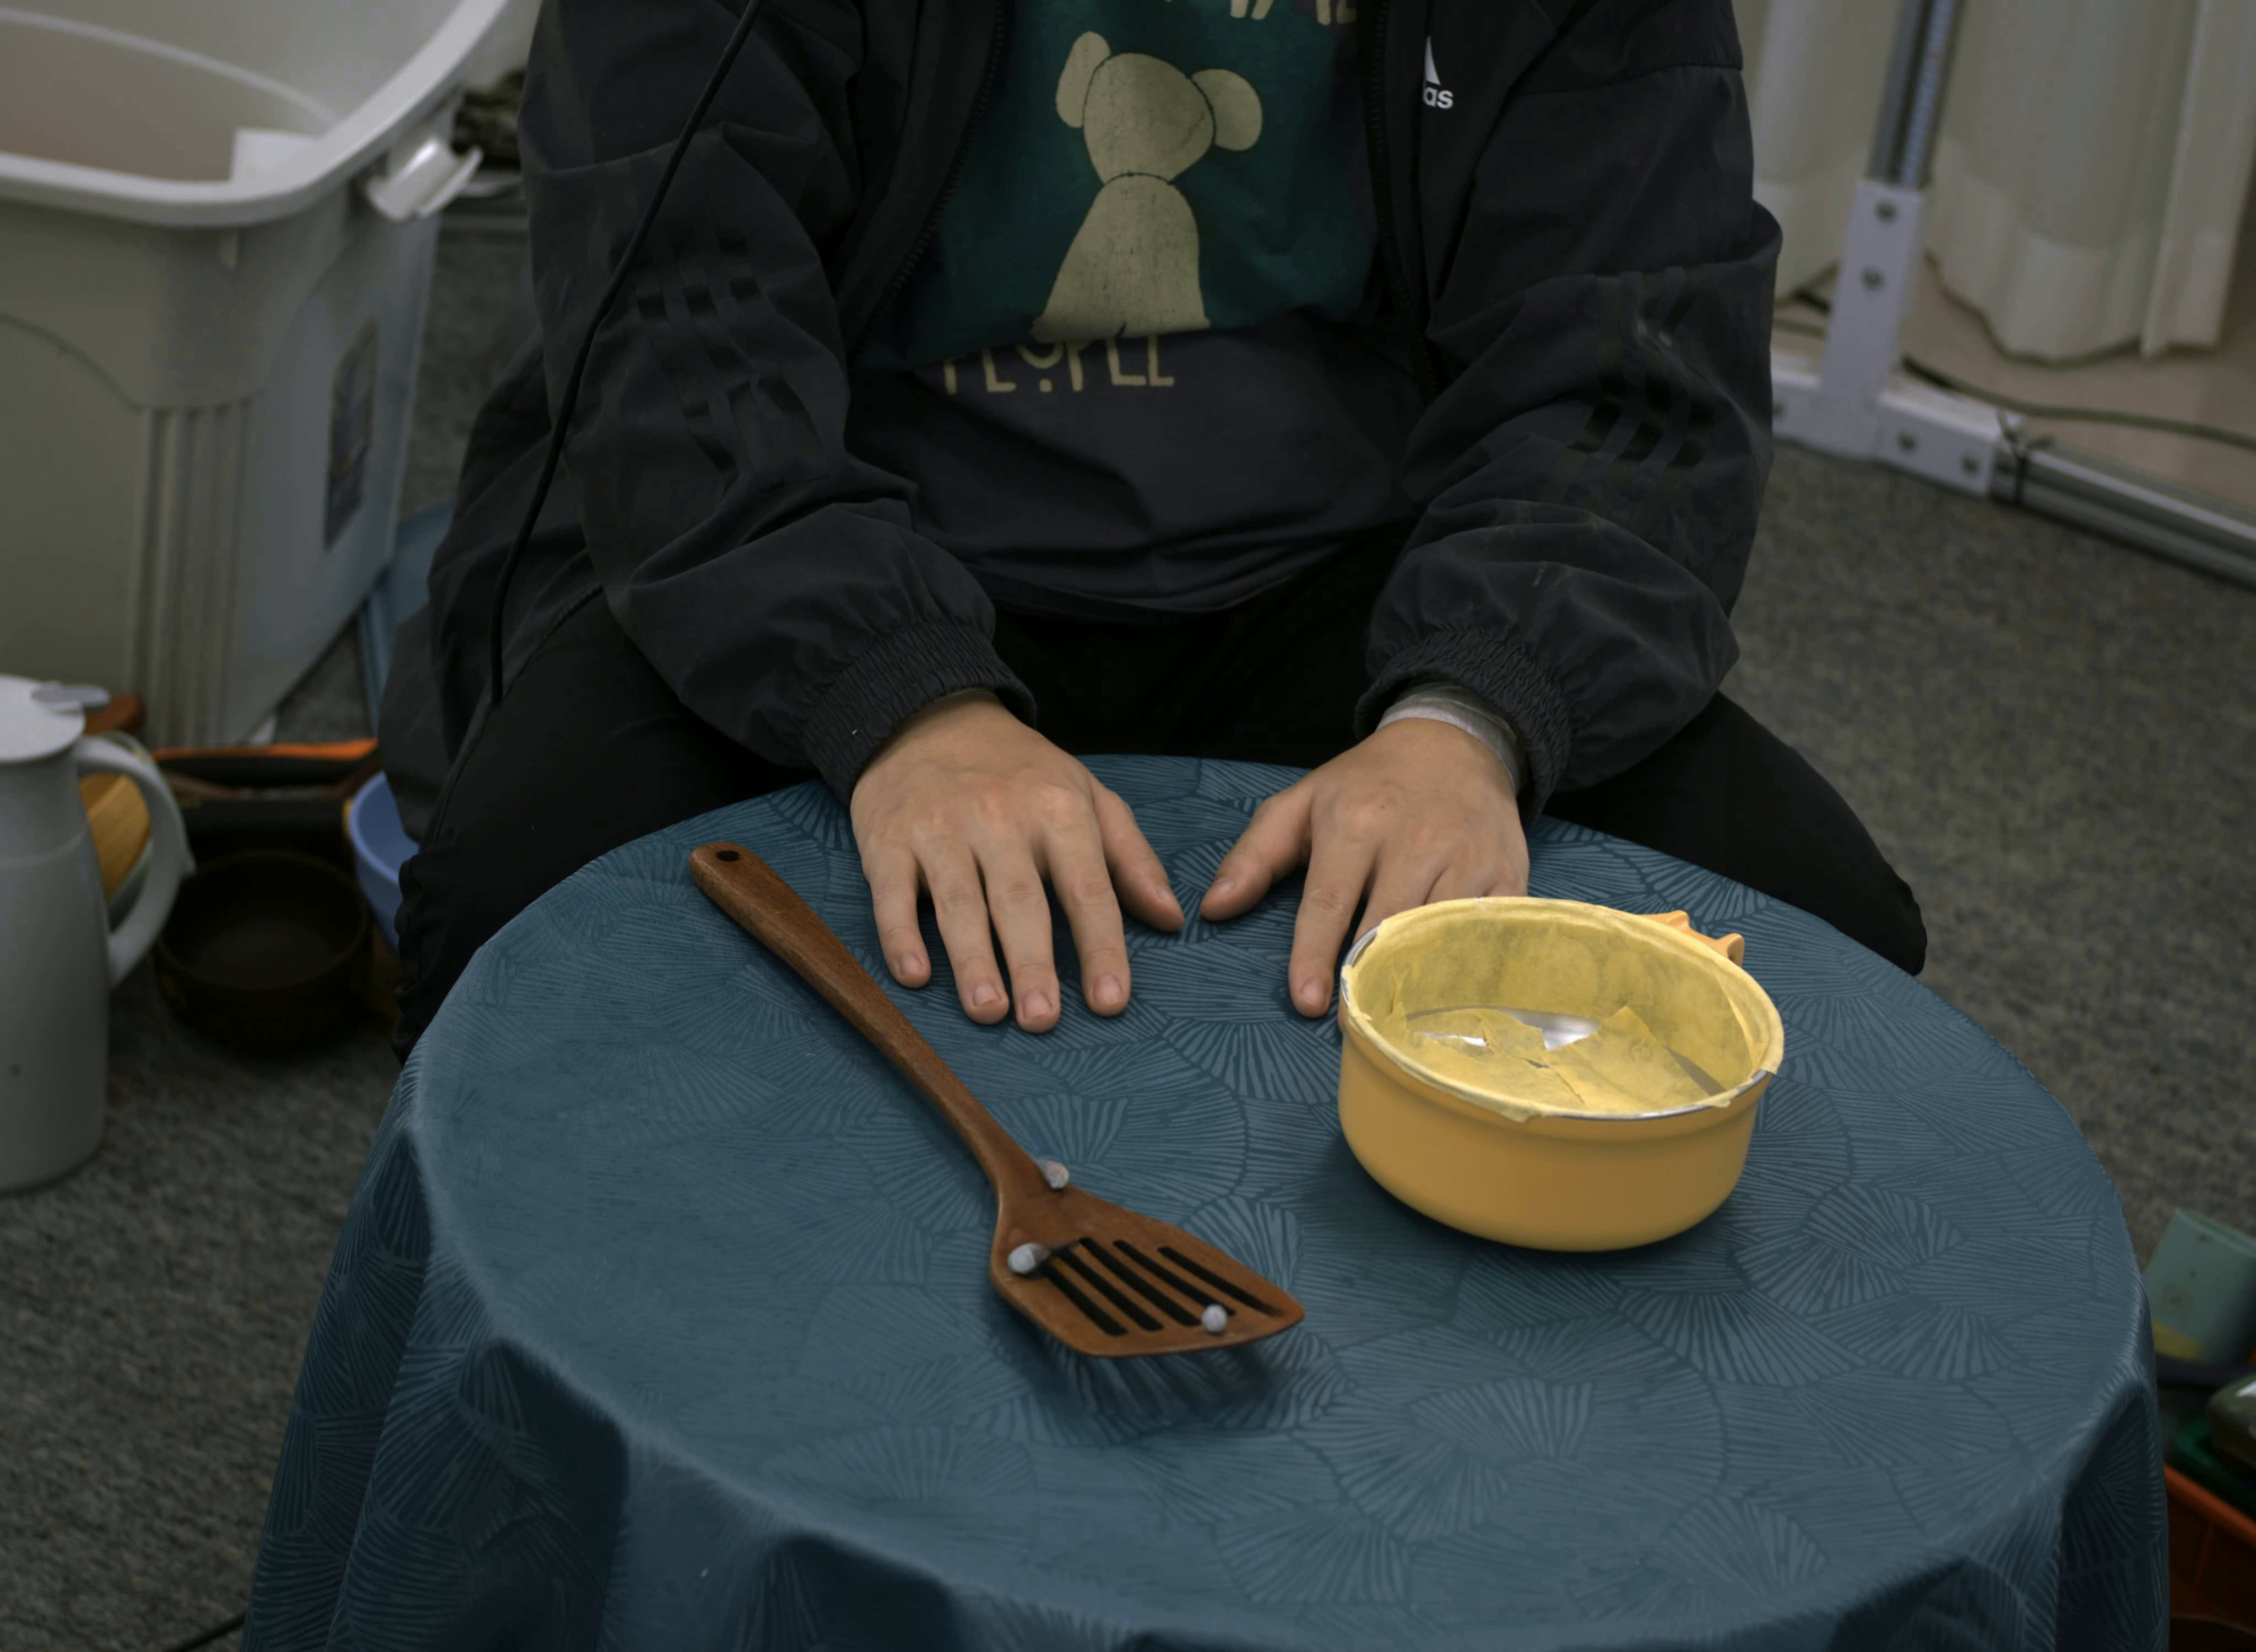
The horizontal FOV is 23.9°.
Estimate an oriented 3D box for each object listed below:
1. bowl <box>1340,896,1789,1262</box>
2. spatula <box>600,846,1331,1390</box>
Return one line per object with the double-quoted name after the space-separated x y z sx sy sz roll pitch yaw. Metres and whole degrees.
0.155 0.087 1.843 0.154 0.074 0.179 21 30 26 "bowl"
-0.075 0.099 1.829 0.085 0.024 0.390 -5 30 -40 "spatula"
